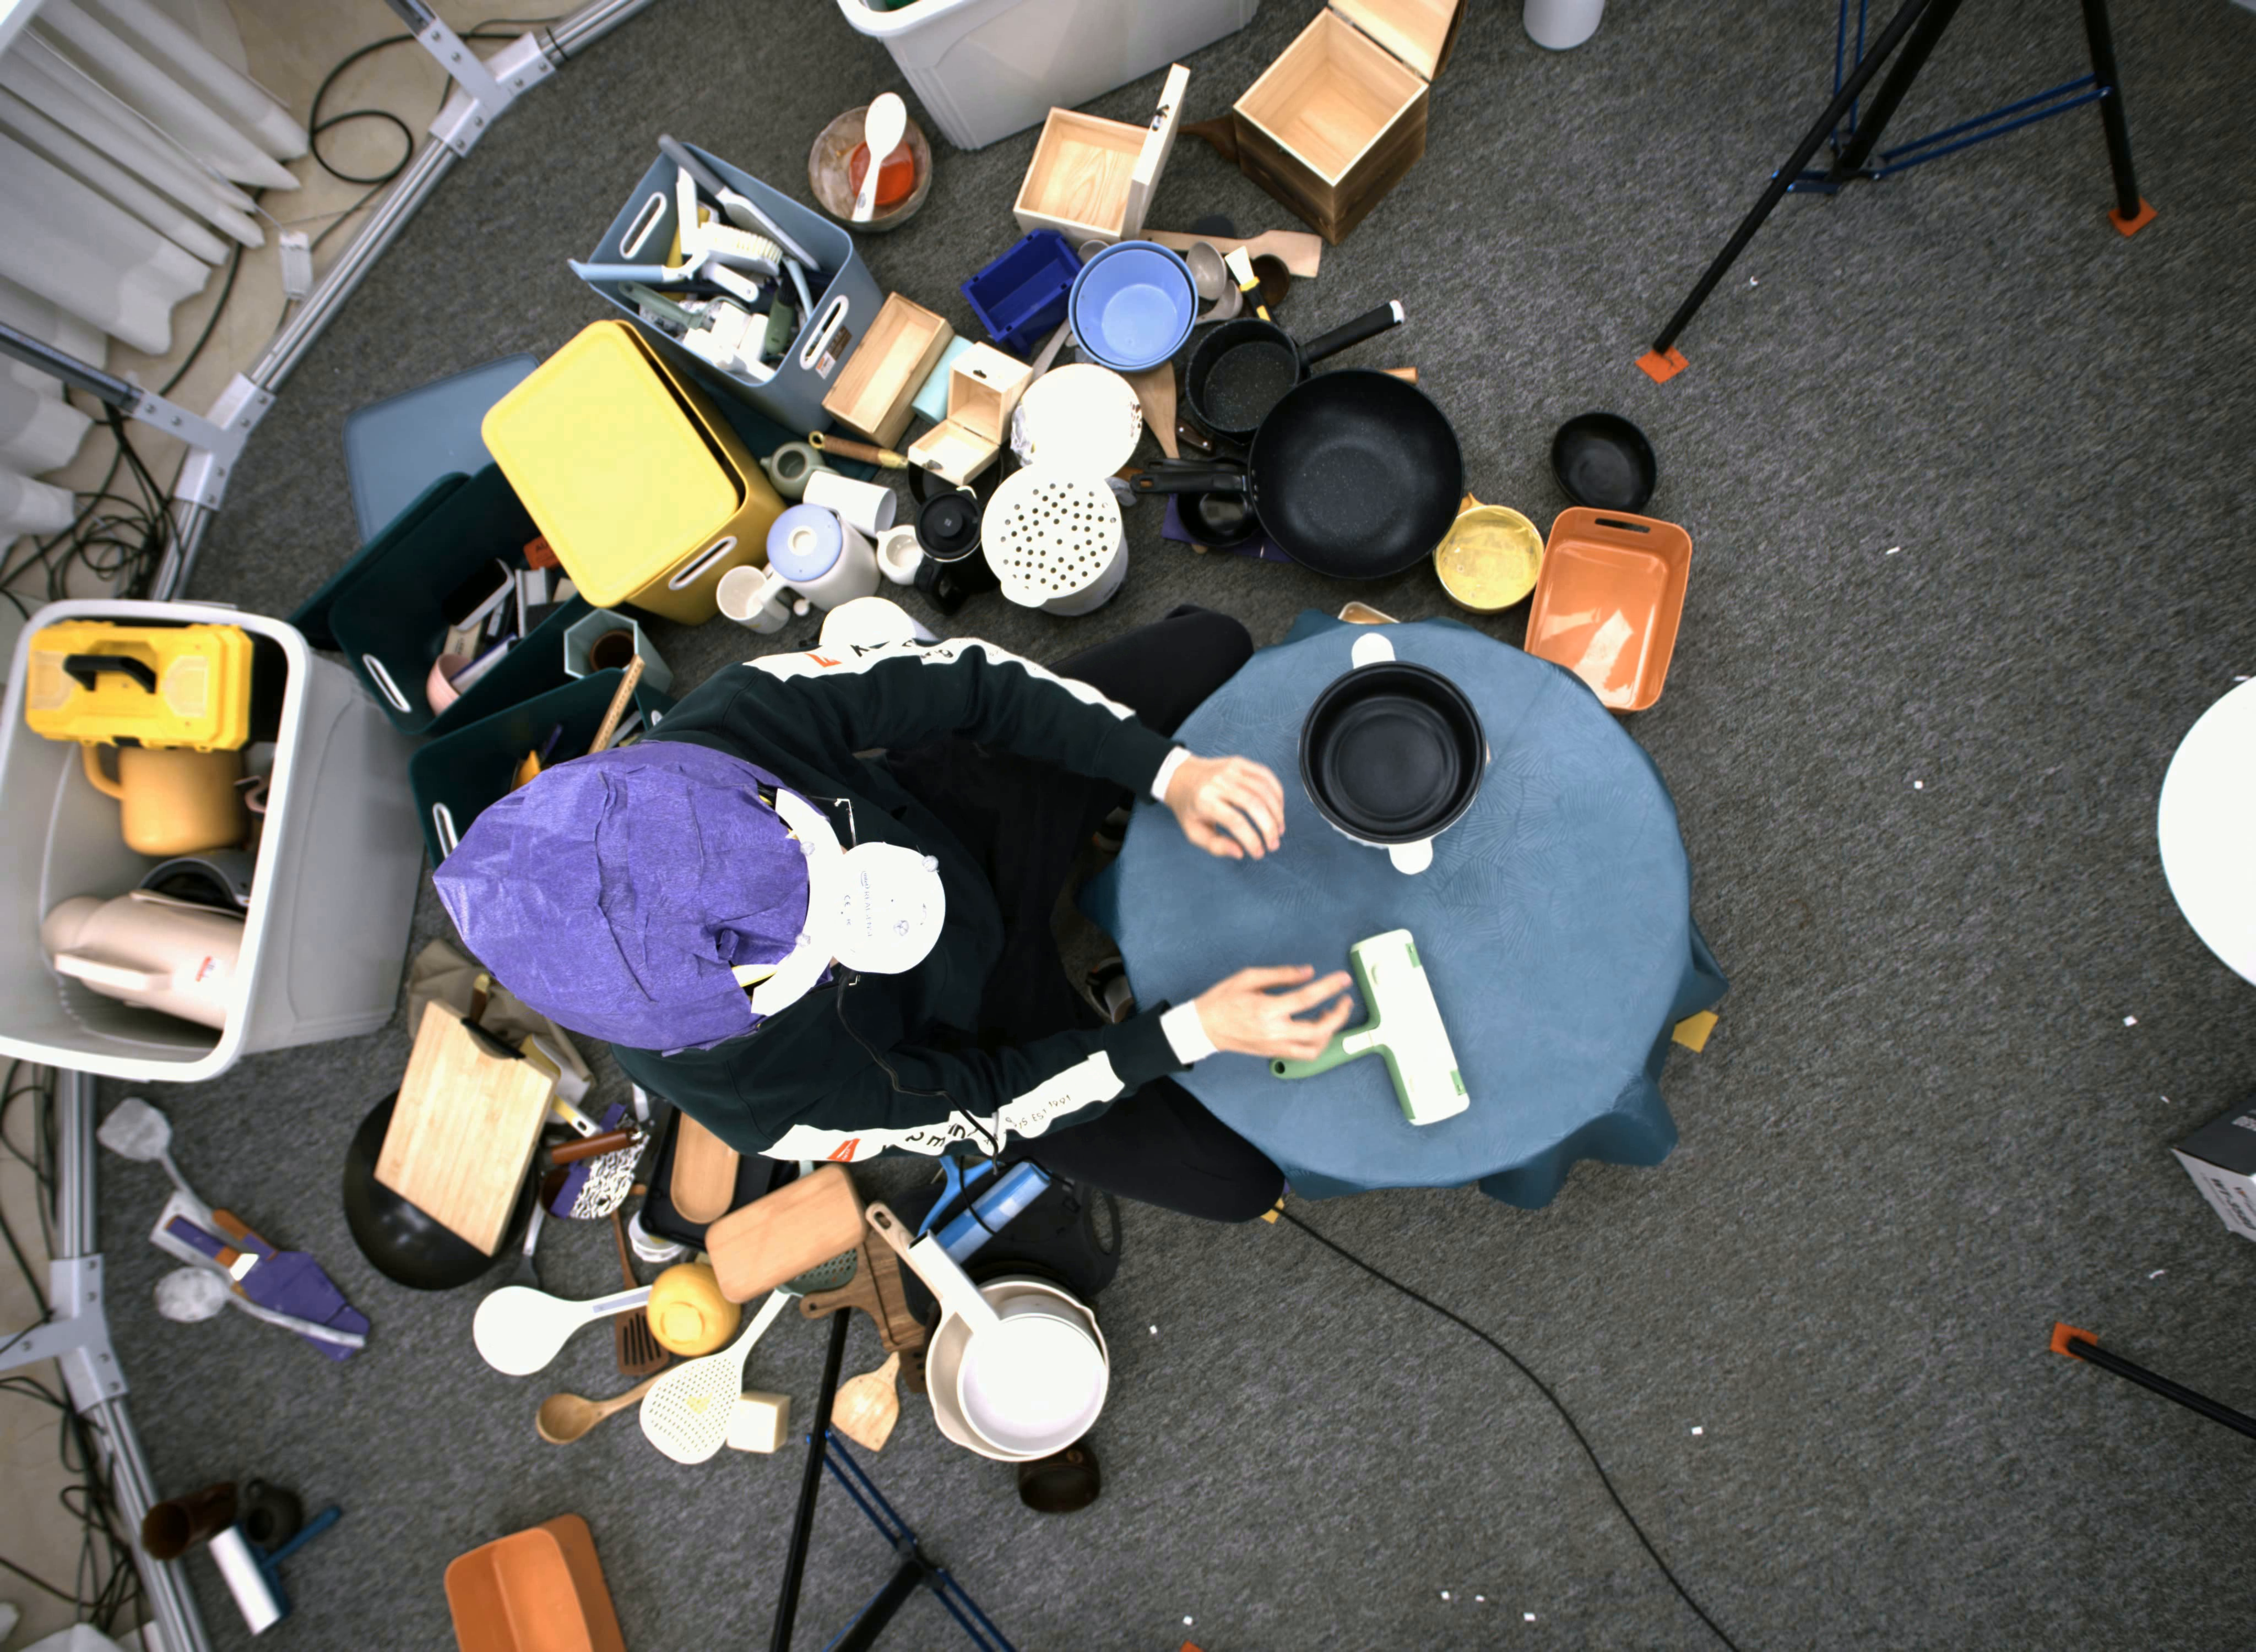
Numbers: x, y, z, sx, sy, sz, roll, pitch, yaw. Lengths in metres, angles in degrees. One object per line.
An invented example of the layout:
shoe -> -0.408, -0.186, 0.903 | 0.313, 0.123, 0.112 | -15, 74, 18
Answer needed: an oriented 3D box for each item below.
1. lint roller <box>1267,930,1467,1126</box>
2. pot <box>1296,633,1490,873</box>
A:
lint roller -> 0.231, 0.222, 1.417 | 0.184, 0.082, 0.197 | -18, 84, 3
pot -> 0.270, -0.070, 1.393 | 0.192, 0.142, 0.239 | -11, 86, 12
